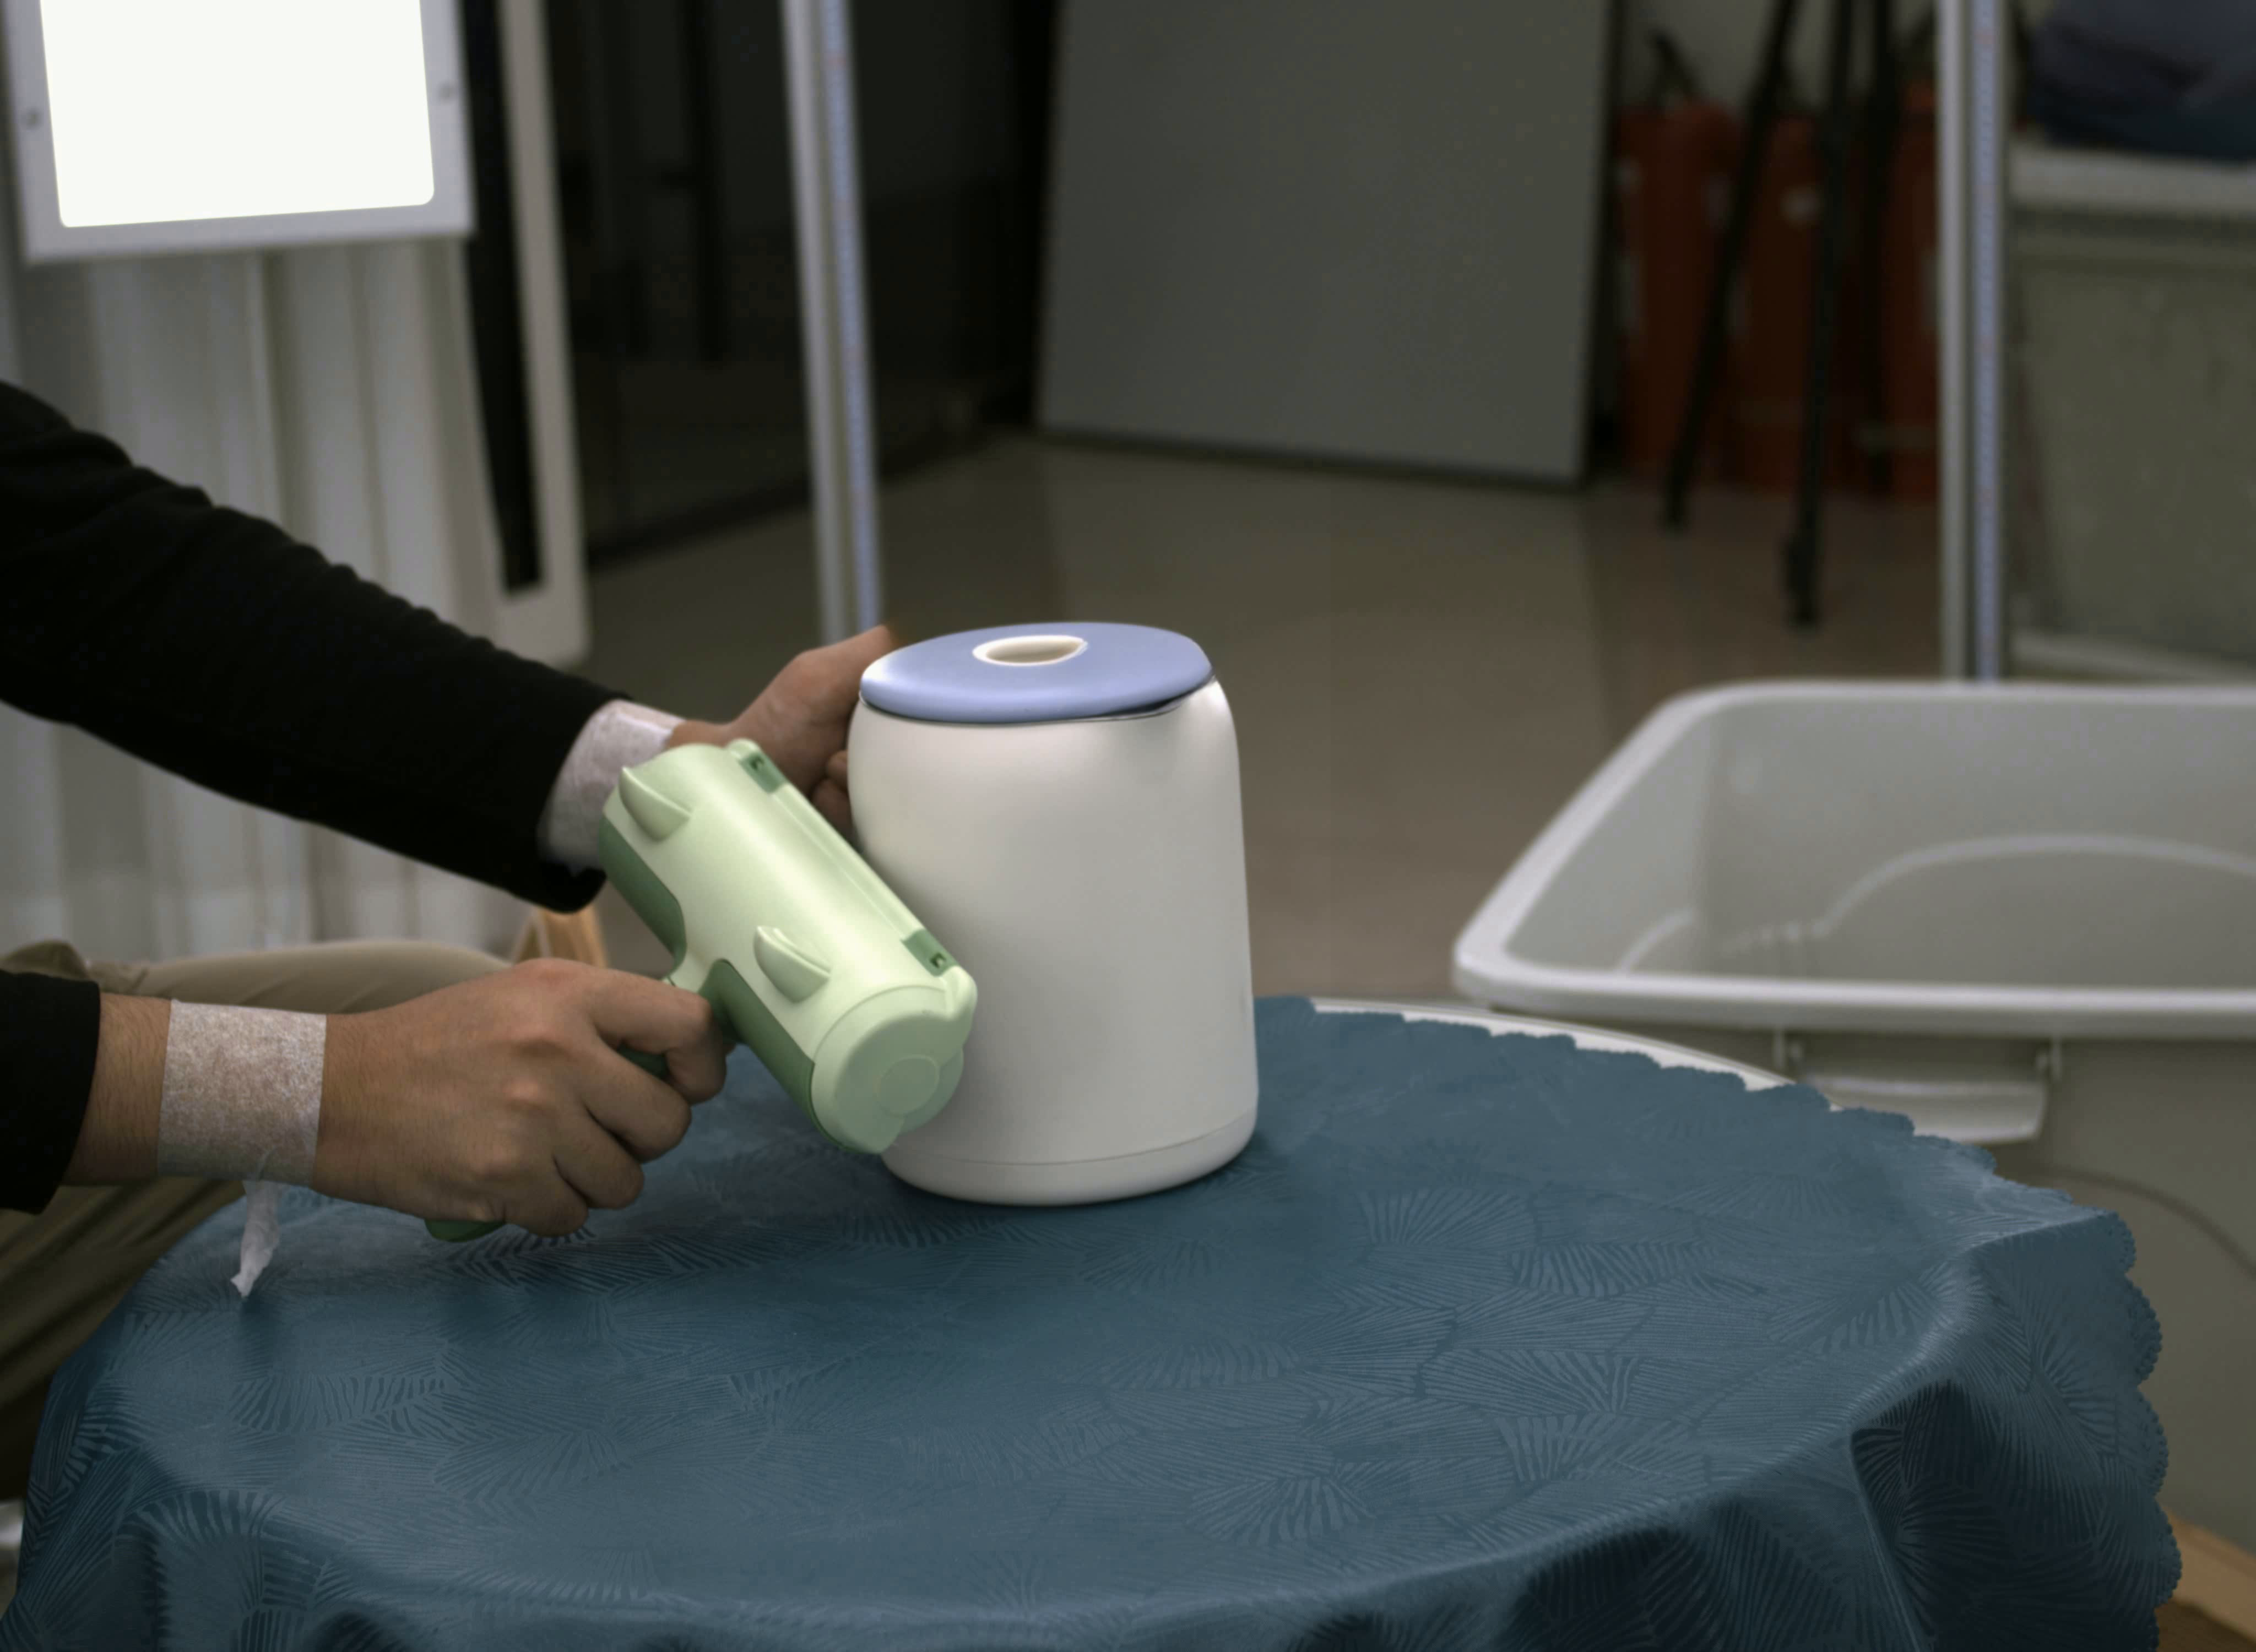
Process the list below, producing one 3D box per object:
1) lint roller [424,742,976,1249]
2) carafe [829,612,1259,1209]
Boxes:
[{"bbox_3d":[-0.161,0.061,1.744,0.181,0.082,0.201,-33,36,-9],"label":"lint roller"},{"bbox_3d":[-0.040,0.024,1.813,0.129,0.184,0.193,-13,14,-35],"label":"carafe"}]
